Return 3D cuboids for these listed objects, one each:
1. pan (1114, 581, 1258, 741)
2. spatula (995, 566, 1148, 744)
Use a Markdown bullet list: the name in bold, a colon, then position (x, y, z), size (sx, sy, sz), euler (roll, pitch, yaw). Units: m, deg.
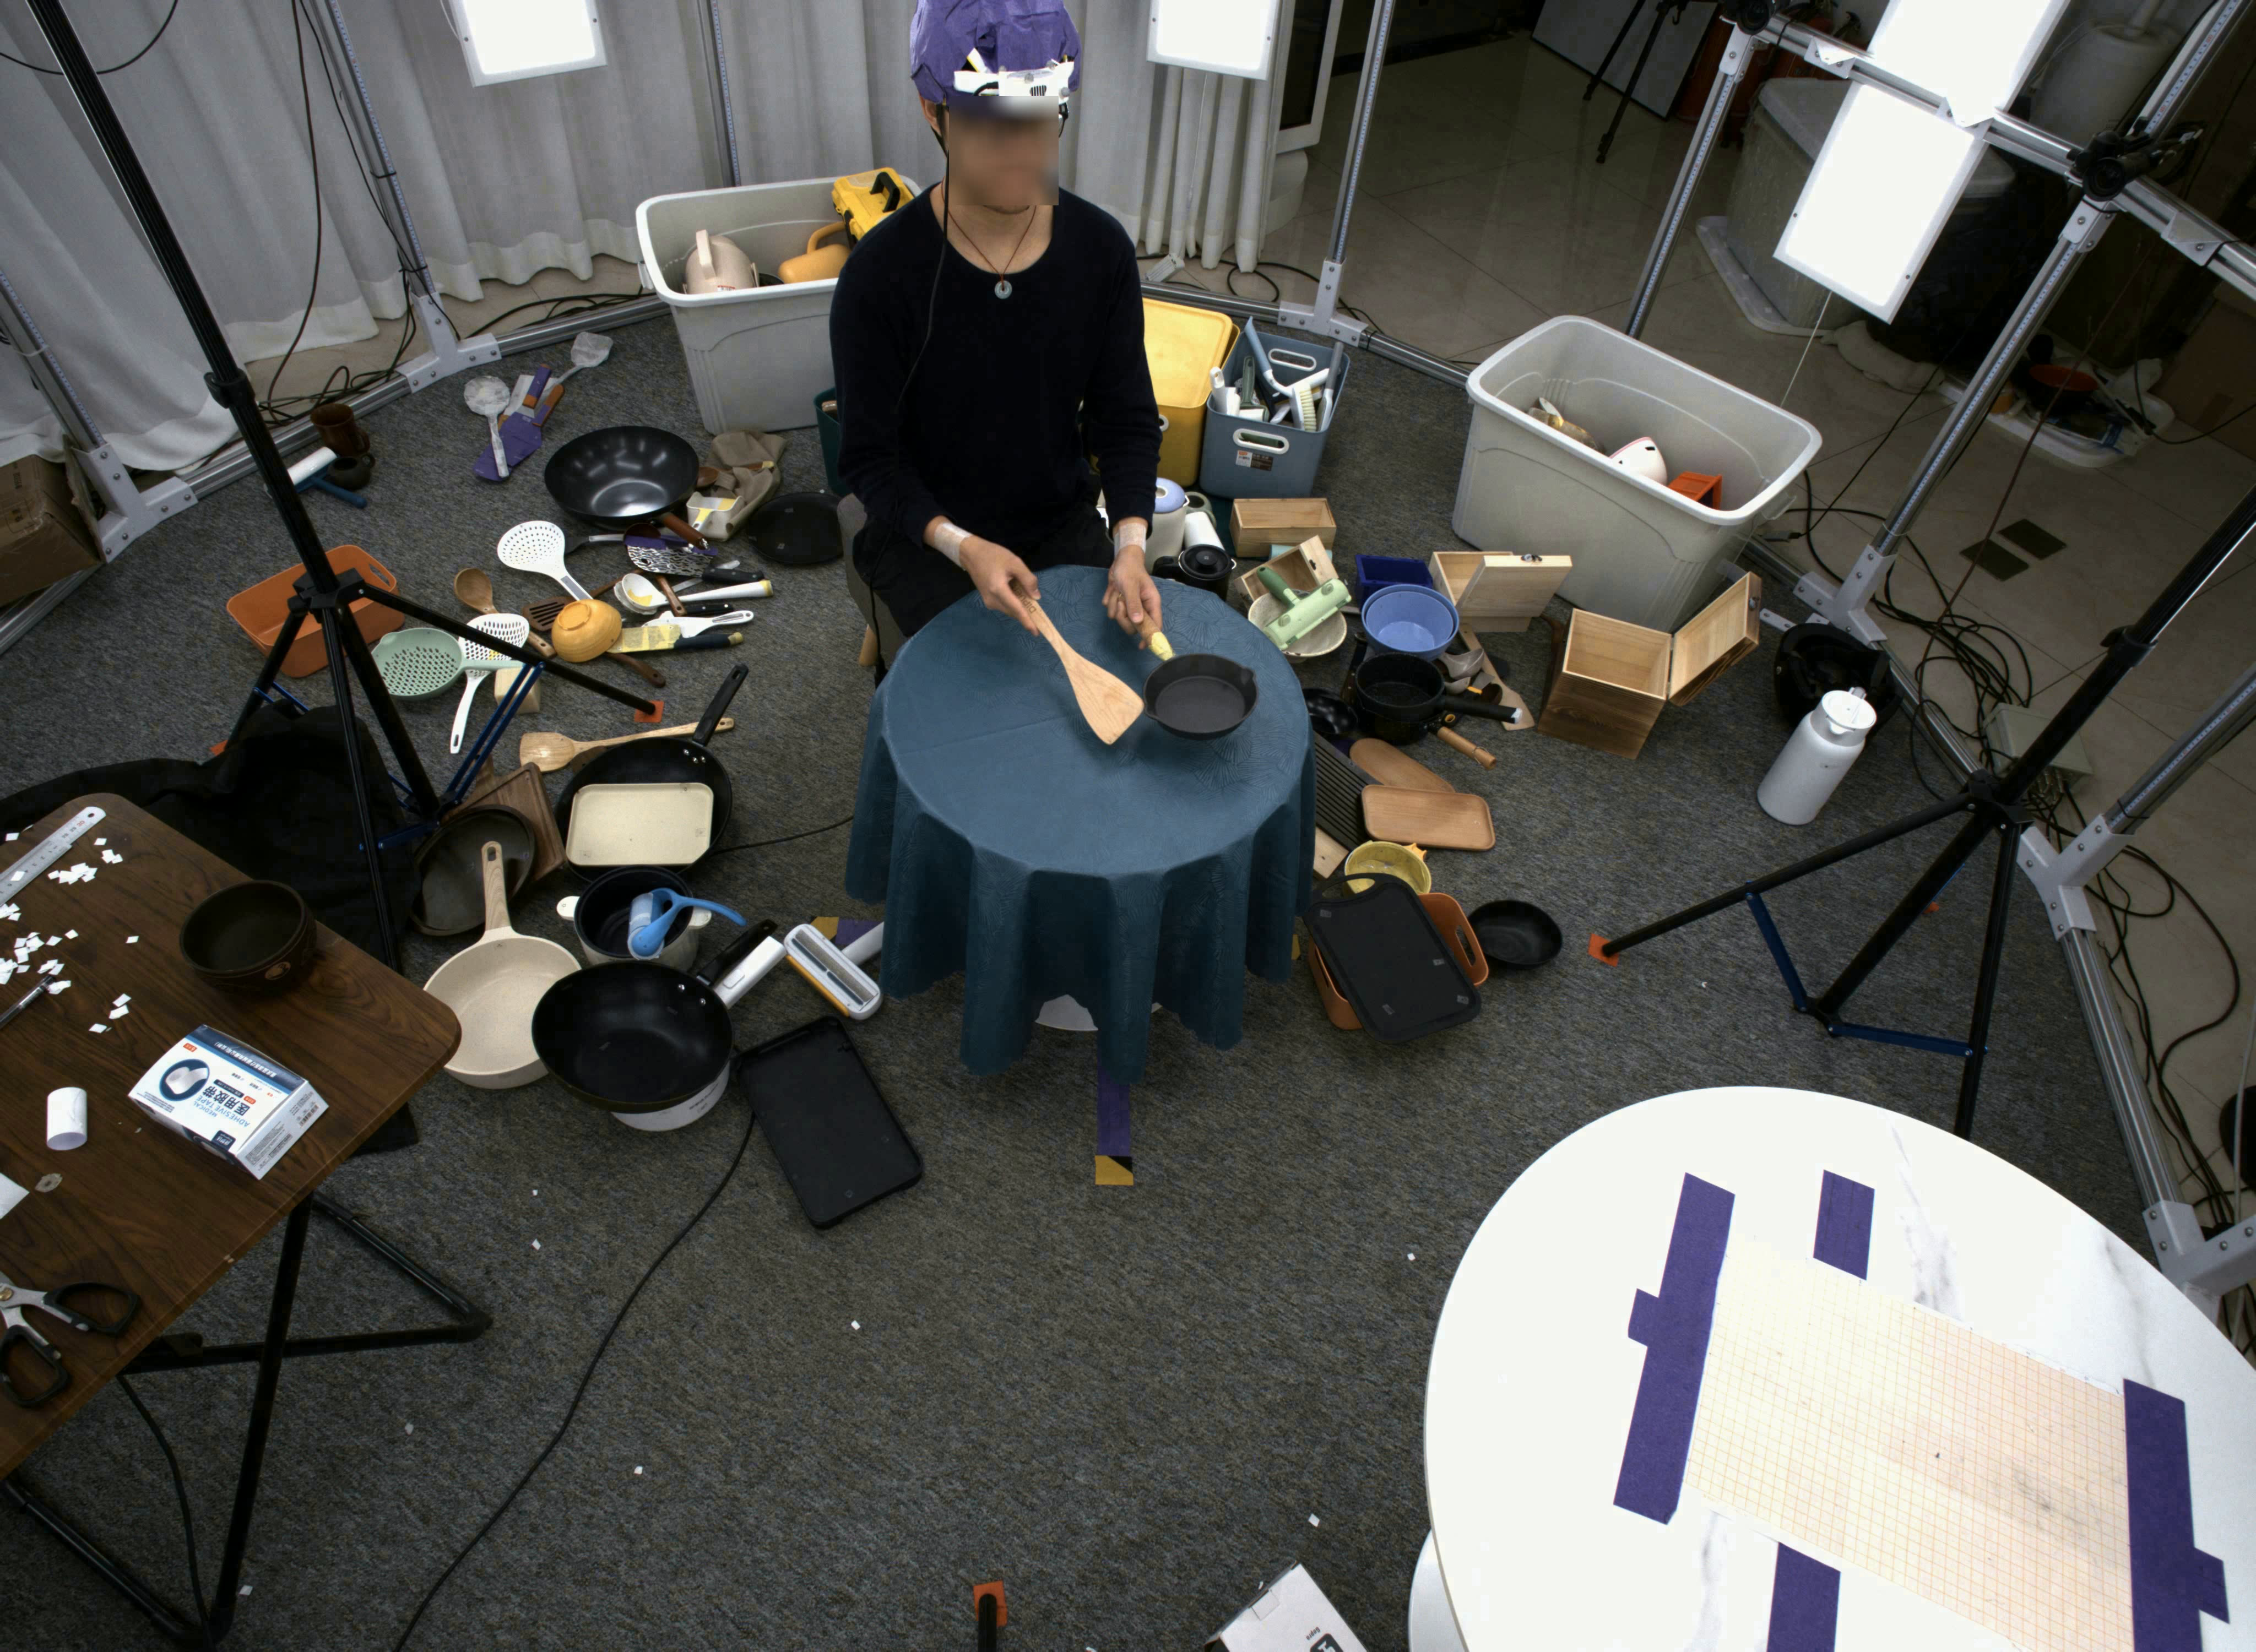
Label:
- **pan**: position (0.061, -0.234, 1.793), size (0.169, 0.048, 0.331), euler (-21, 51, -15)
- **spatula**: position (-0.089, -0.249, 1.786), size (0.080, 0.016, 0.332), euler (-36, 69, -6)
